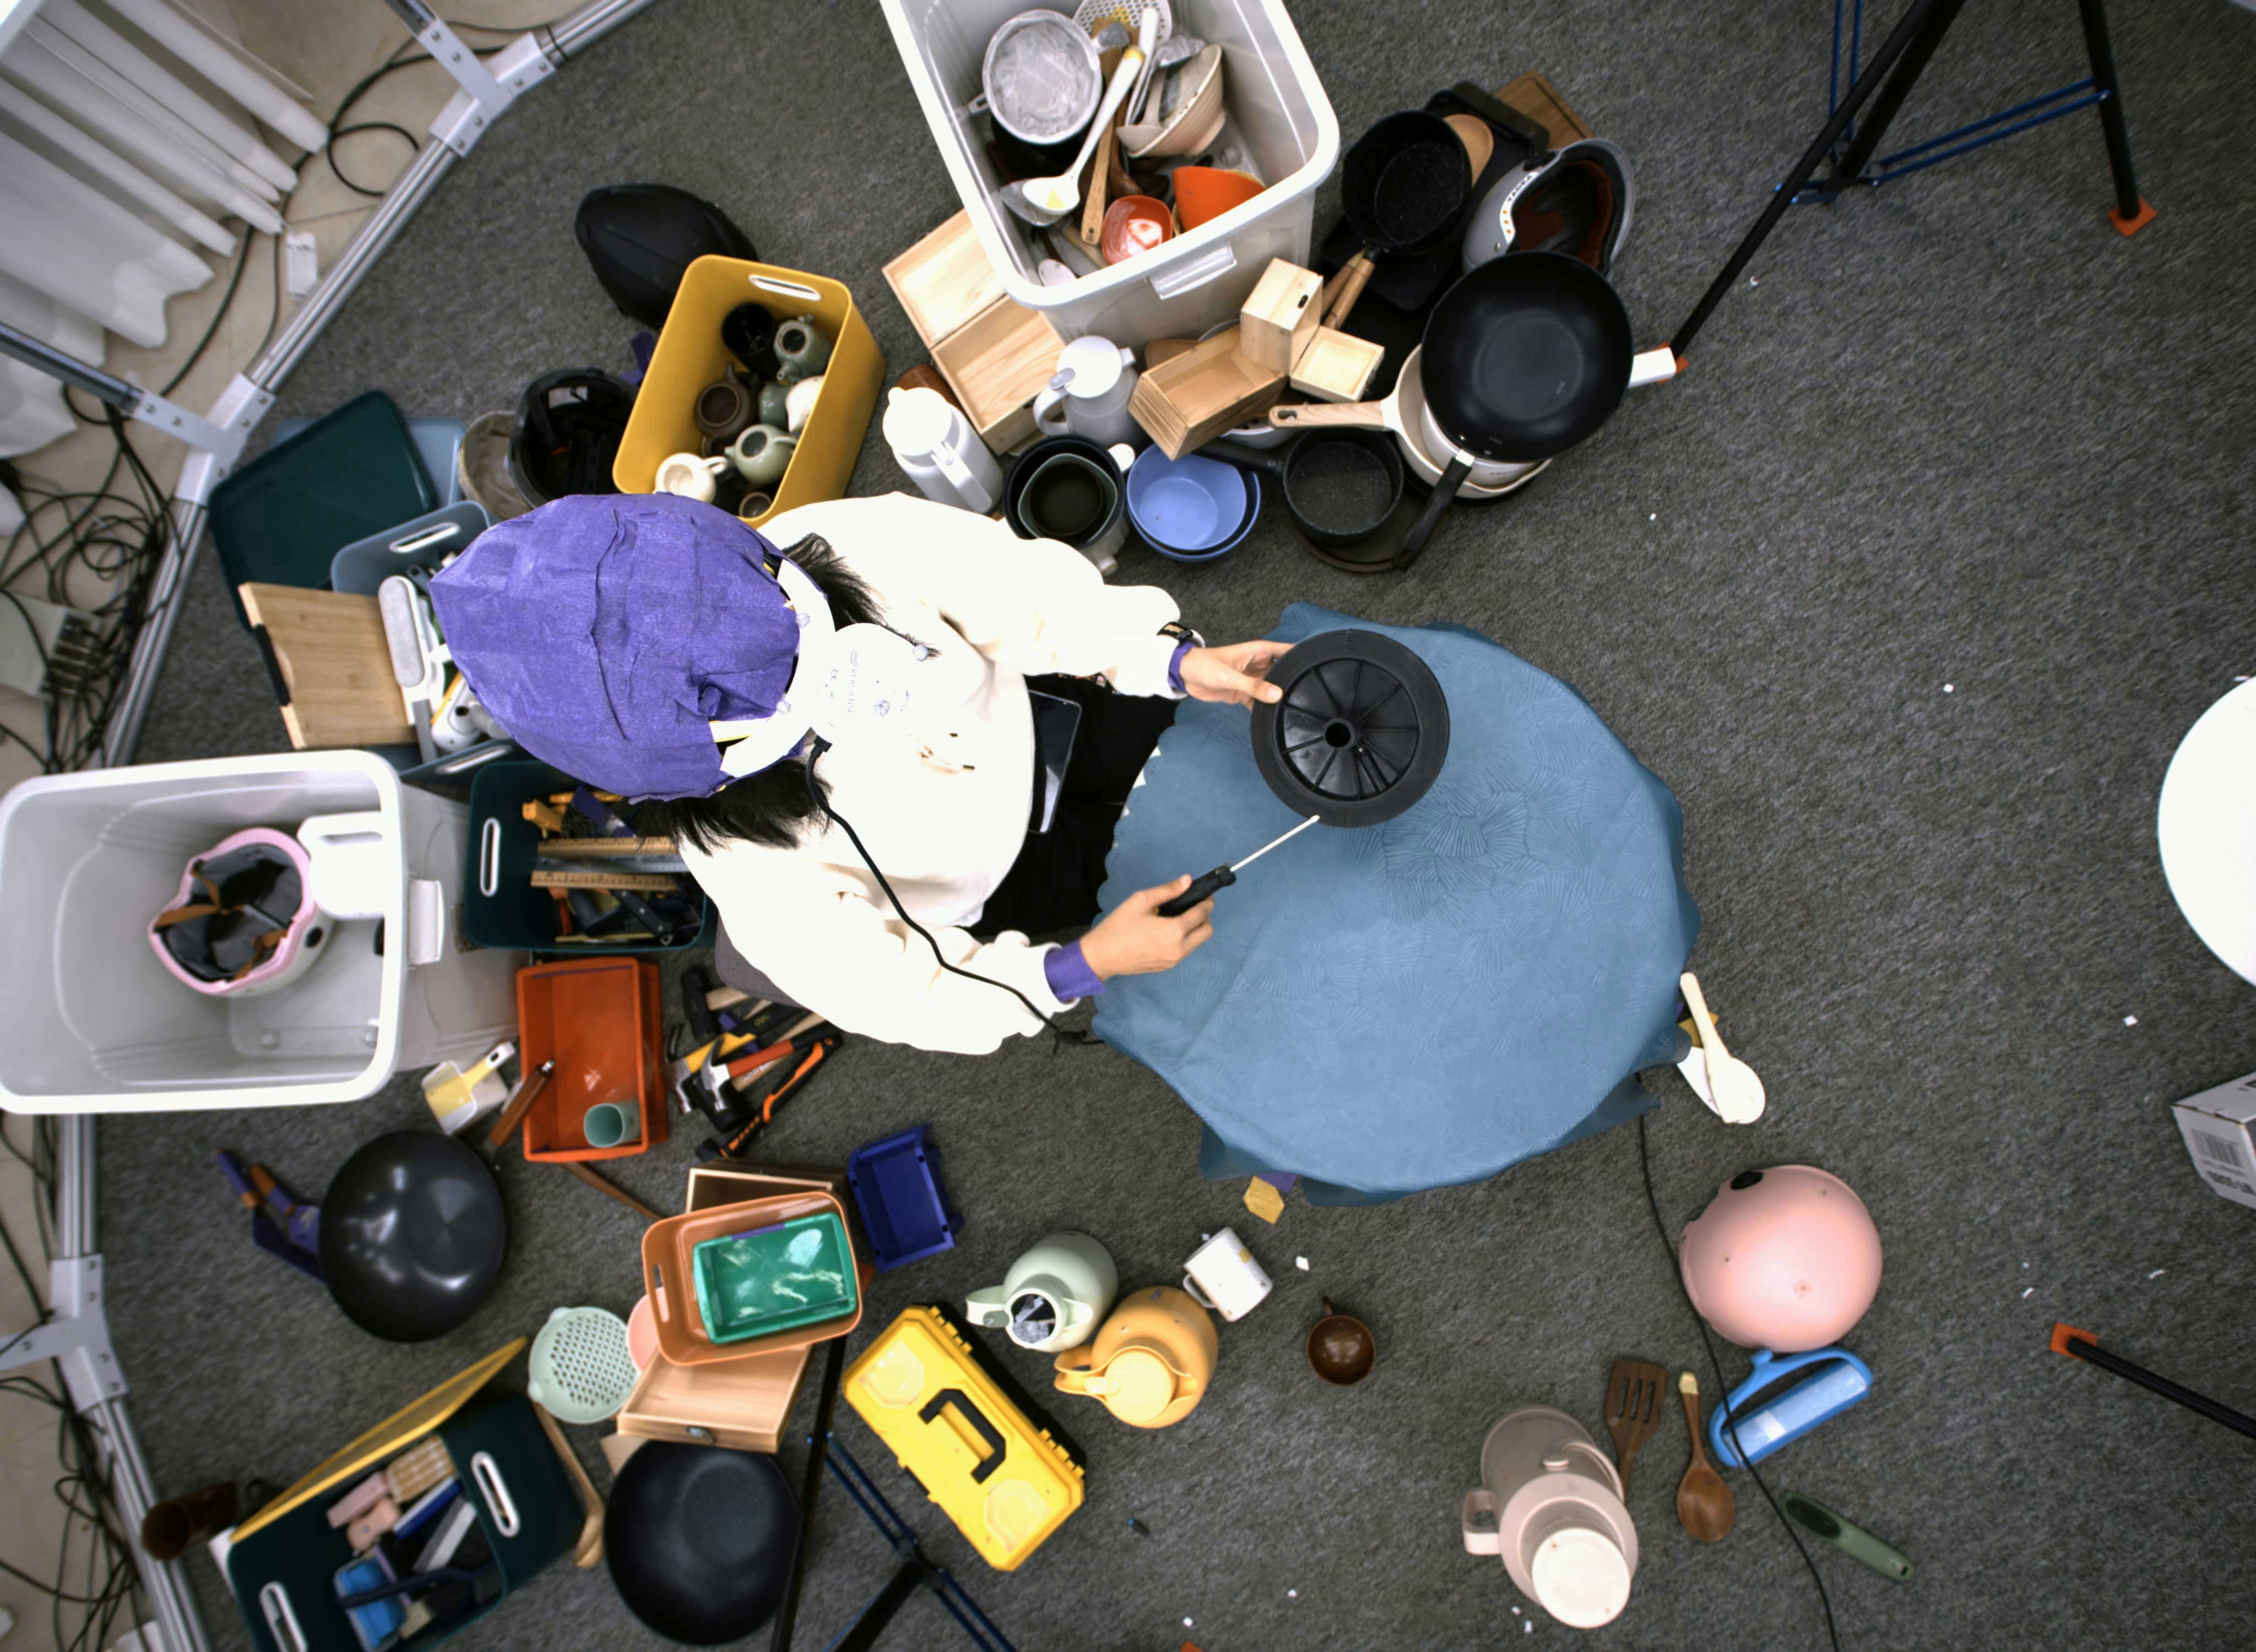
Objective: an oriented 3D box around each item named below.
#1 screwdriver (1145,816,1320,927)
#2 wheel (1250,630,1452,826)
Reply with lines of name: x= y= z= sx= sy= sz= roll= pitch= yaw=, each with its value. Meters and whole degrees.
screwdriver: x=0.099 y=0.040 z=1.333 sx=0.198 sy=0.031 sz=0.031 roll=-33 pitch=80 yaw=17
wheel: x=0.204 y=-0.088 z=1.283 sx=0.189 sy=0.078 sz=0.190 roll=37 pitch=111 yaw=5
